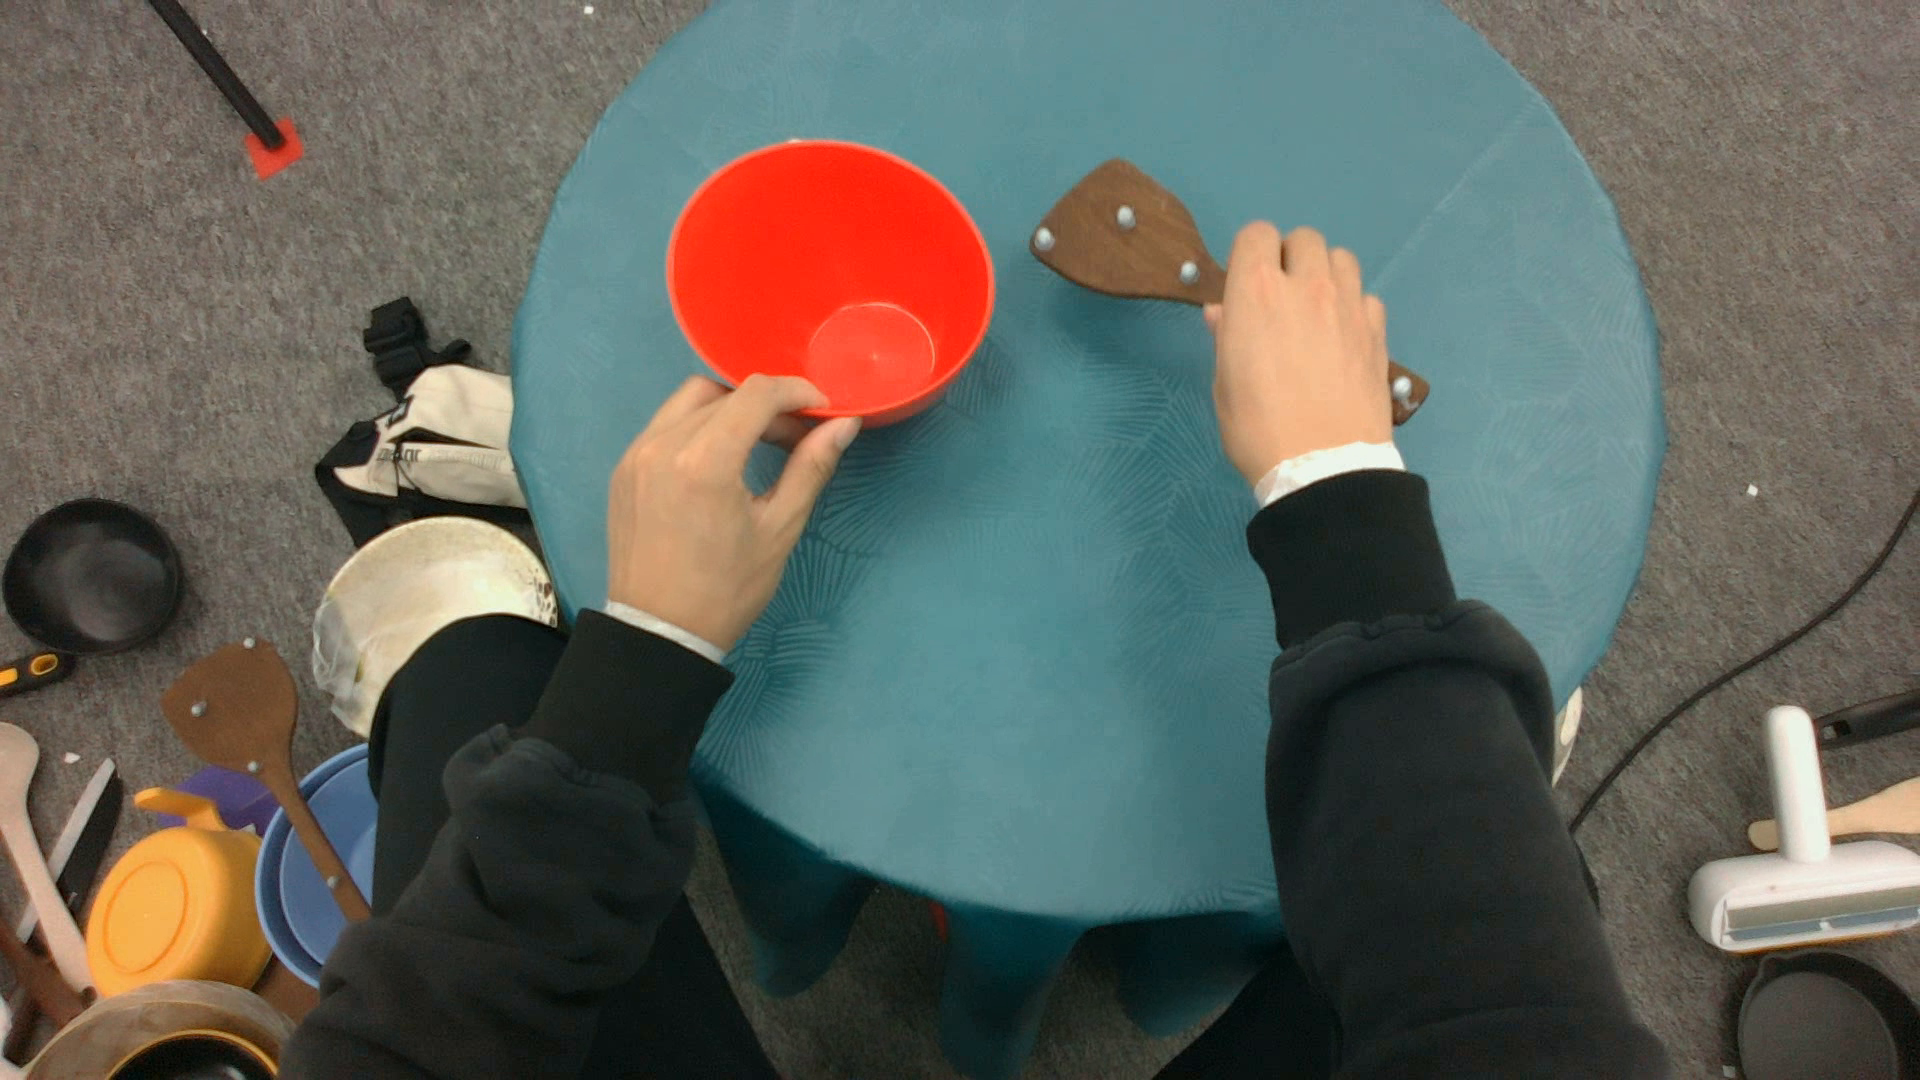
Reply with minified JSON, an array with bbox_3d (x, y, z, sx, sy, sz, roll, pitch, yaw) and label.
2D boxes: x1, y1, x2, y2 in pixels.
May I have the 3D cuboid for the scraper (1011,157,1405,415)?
[{"bbox_3d":[0.120,-0.120,0.665,0.211,0.011,0.076,37,72,26],"label":"scraper"}]

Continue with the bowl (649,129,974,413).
[{"bbox_3d":[-0.067,-0.116,0.673,0.148,0.104,0.148,0,70,0],"label":"bowl"}]
